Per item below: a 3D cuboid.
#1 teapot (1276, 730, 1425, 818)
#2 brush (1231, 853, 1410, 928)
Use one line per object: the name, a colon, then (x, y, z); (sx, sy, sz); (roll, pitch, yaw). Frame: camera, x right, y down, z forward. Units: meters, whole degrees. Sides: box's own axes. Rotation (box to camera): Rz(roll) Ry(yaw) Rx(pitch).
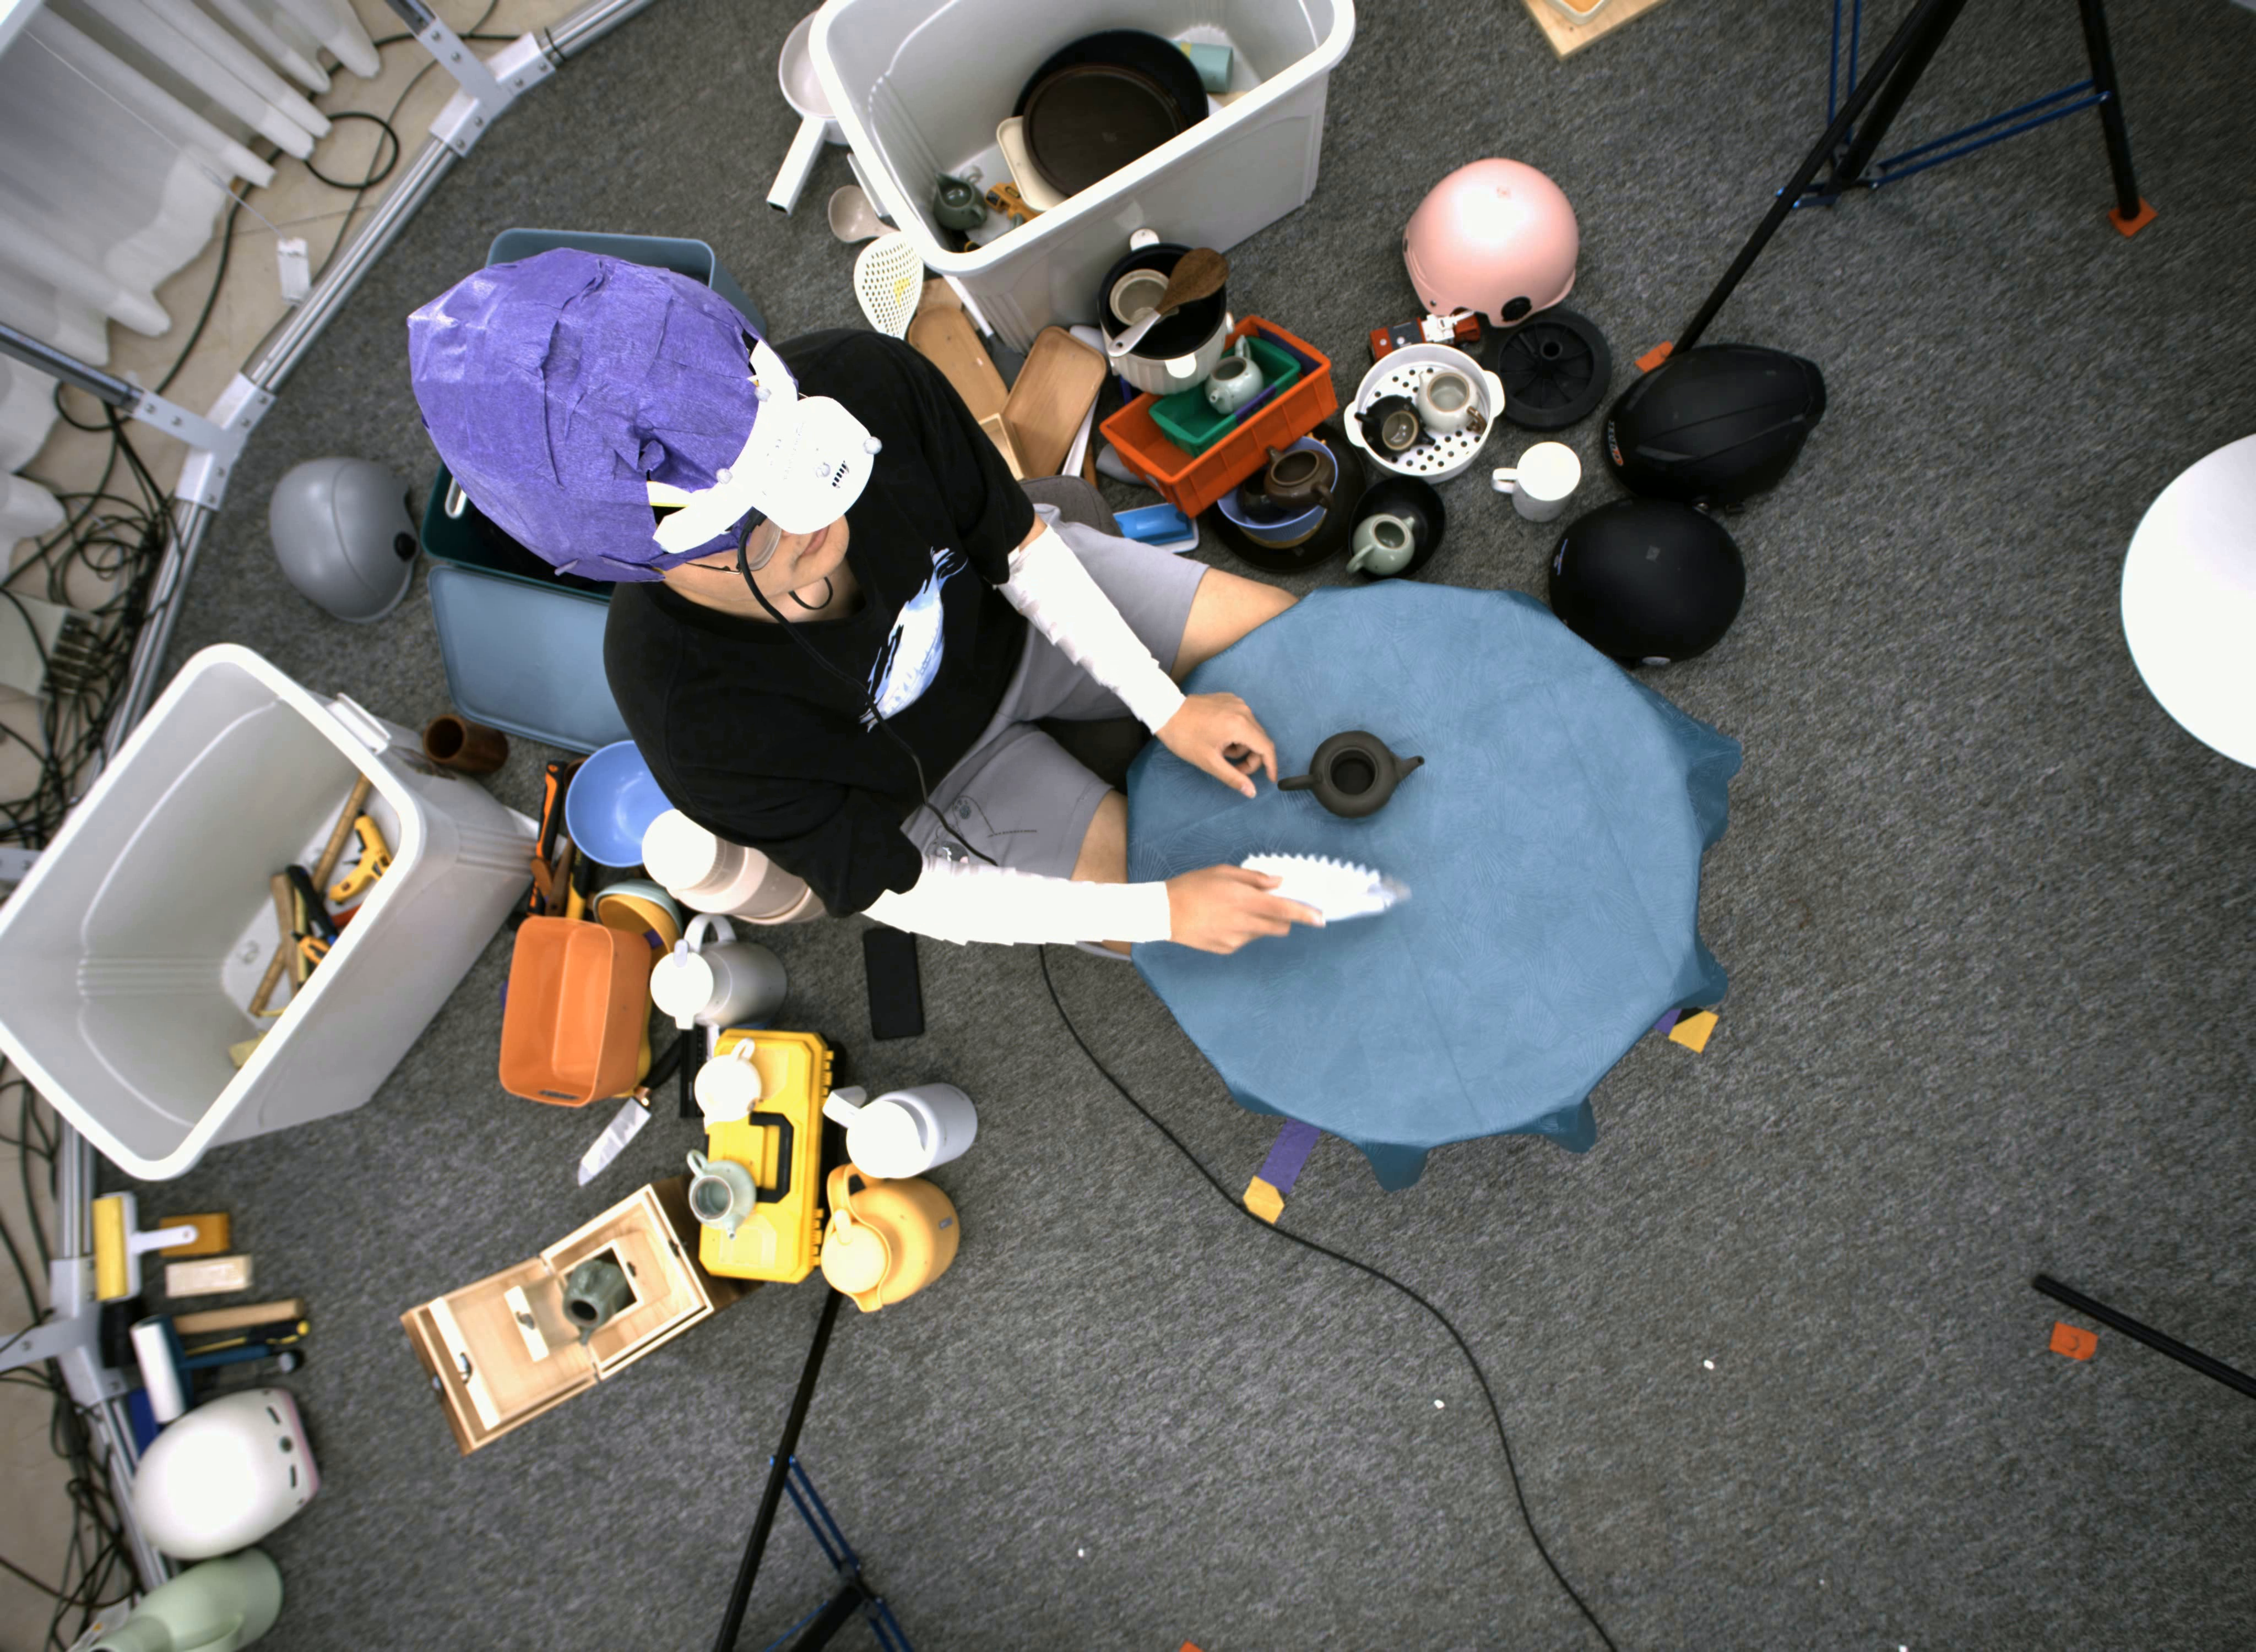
teapot: (0.232, -0.054, 1.439); (0.155, 0.064, 0.092); (-8, 84, 9)
brush: (0.189, 0.073, 1.394); (0.176, 0.092, 0.062); (8, 111, 21)
